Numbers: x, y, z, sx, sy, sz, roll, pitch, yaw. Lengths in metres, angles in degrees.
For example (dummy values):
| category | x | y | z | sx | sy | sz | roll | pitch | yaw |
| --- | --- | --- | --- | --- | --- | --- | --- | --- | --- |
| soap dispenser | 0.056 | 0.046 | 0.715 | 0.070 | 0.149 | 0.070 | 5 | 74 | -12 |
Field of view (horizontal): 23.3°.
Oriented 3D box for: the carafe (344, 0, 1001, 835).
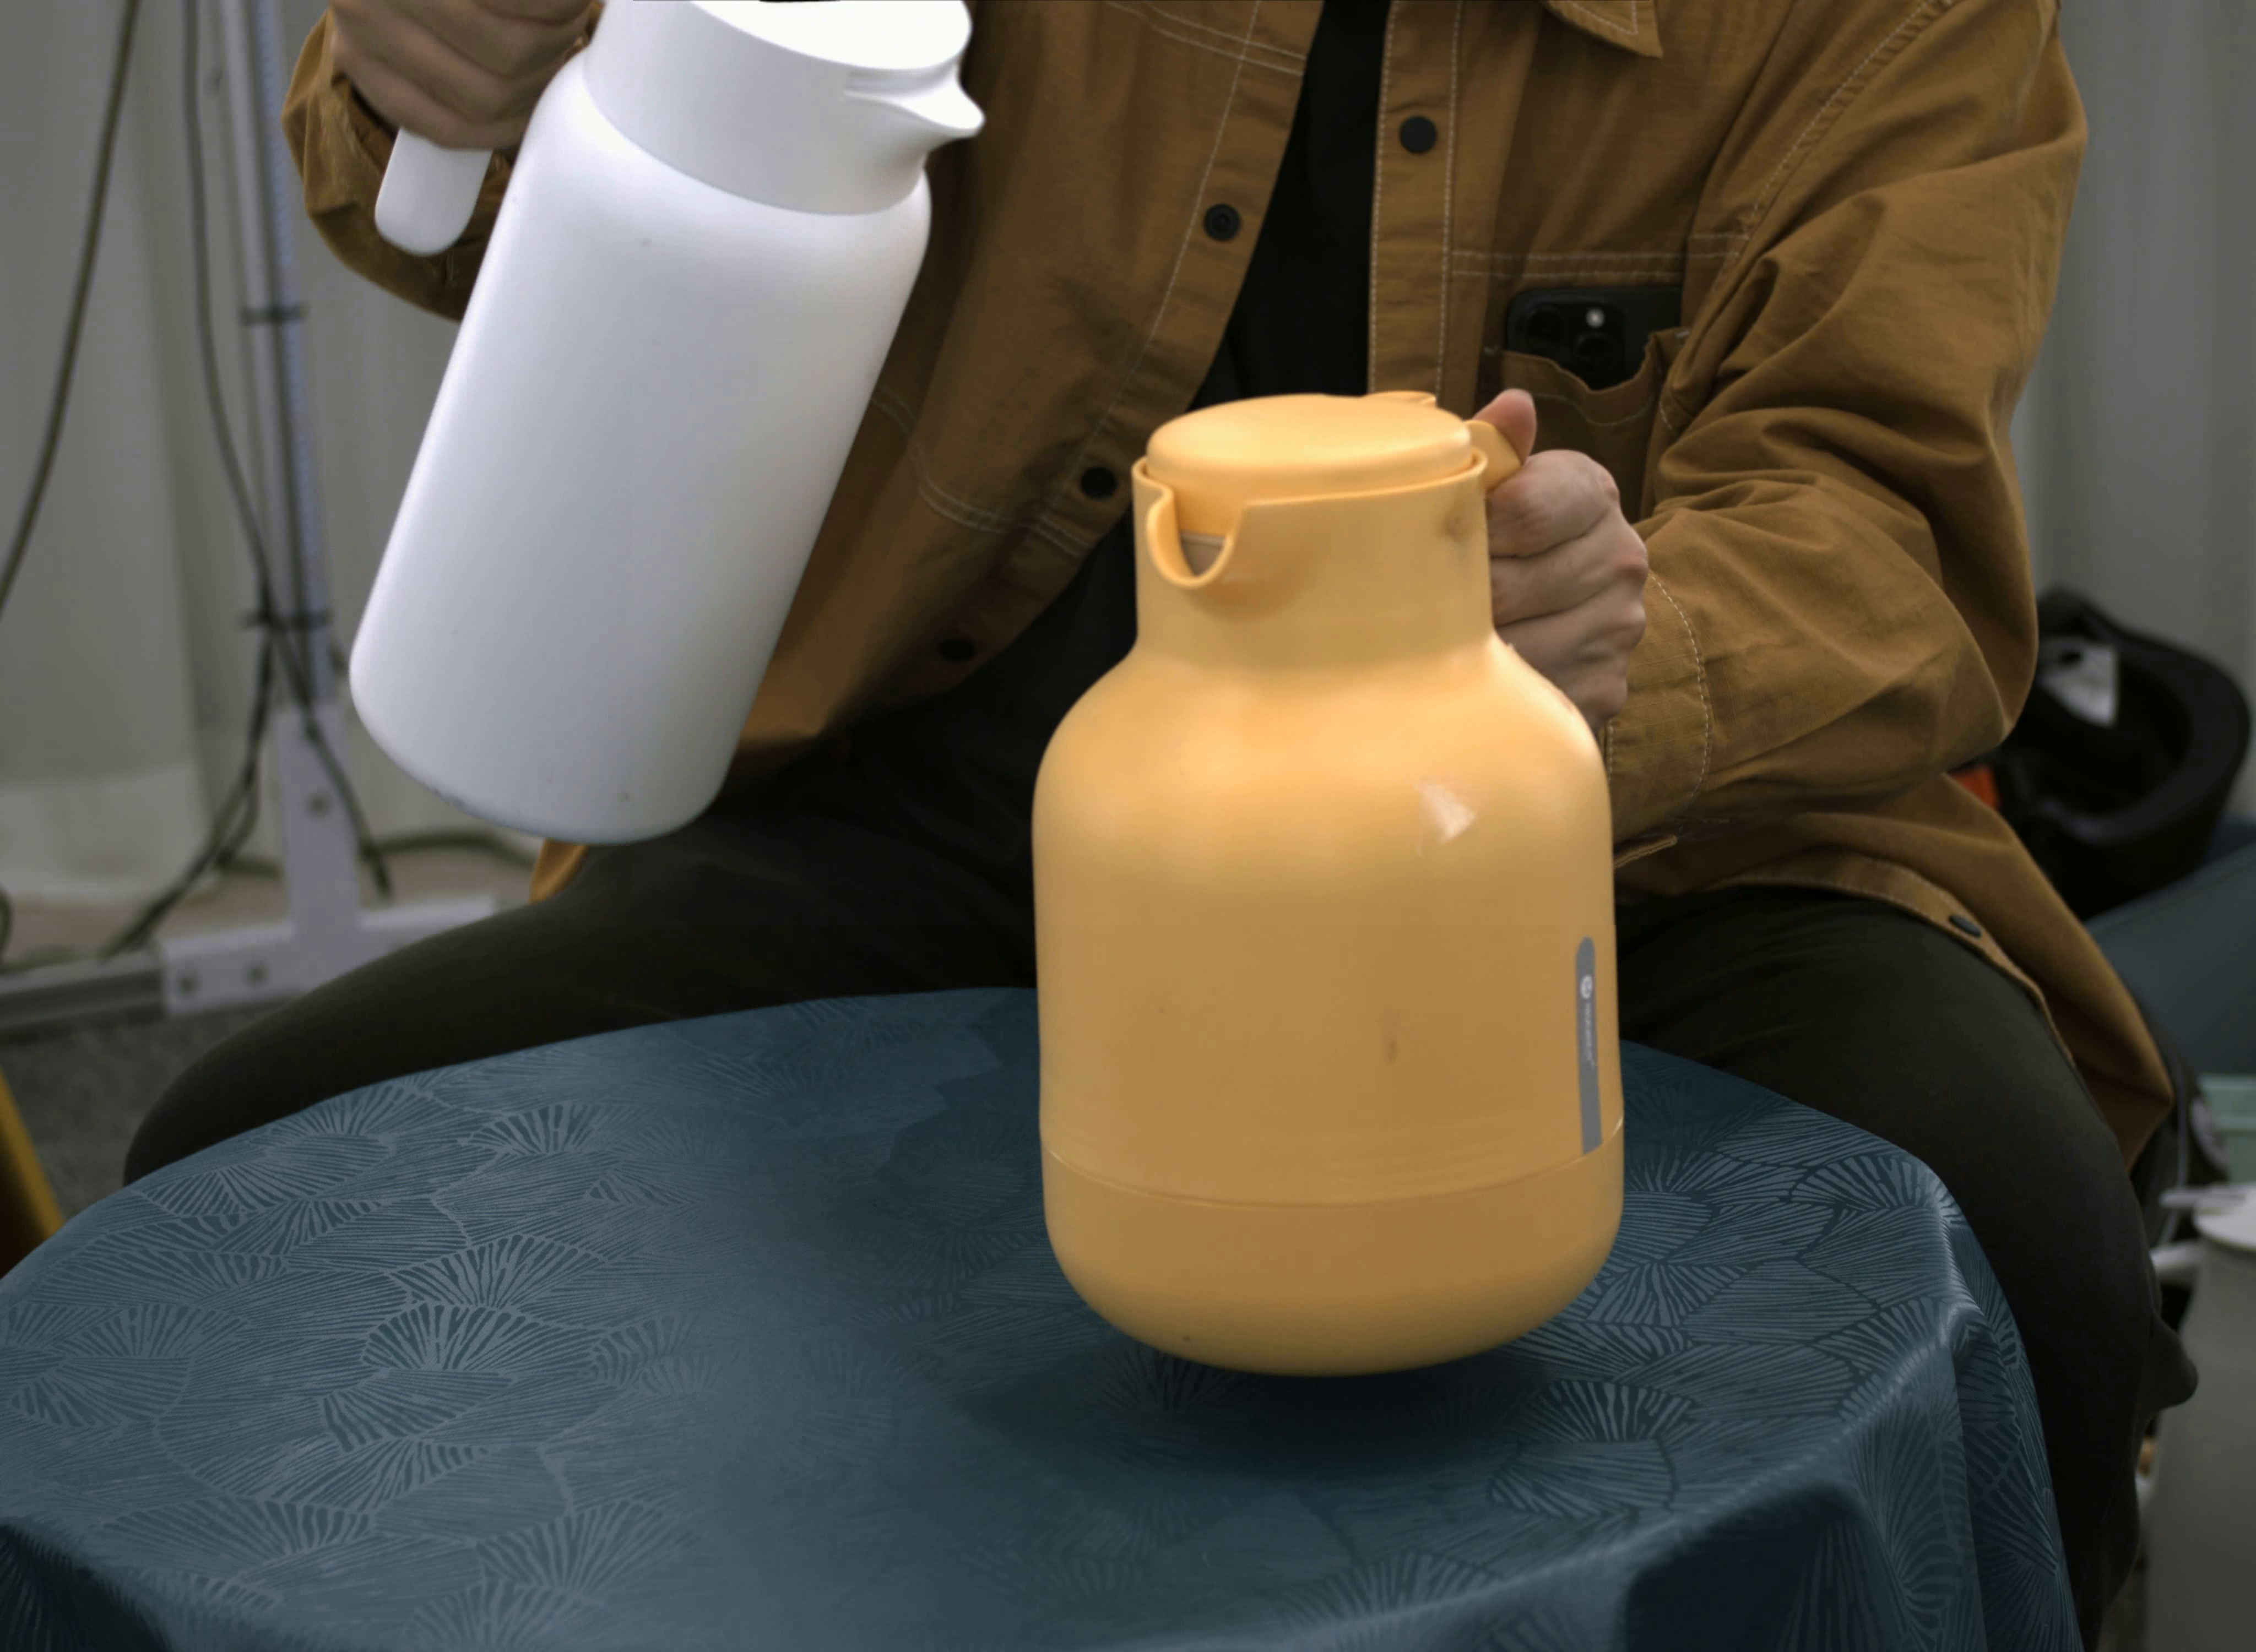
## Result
| category | x | y | z | sx | sy | sz | roll | pitch | yaw |
| --- | --- | --- | --- | --- | --- | --- | --- | --- | --- |
| carafe | -0.147 | -0.143 | 1.581 | 0.174 | 0.266 | 0.124 | 36 | 34 | 20 |

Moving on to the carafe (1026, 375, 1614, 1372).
| category | x | y | z | sx | sy | sz | roll | pitch | yaw |
| --- | --- | --- | --- | --- | --- | --- | --- | --- | --- |
| carafe | 0.063 | 0.005 | 1.525 | 0.164 | 0.259 | 0.202 | 9 | 19 | 30 |
